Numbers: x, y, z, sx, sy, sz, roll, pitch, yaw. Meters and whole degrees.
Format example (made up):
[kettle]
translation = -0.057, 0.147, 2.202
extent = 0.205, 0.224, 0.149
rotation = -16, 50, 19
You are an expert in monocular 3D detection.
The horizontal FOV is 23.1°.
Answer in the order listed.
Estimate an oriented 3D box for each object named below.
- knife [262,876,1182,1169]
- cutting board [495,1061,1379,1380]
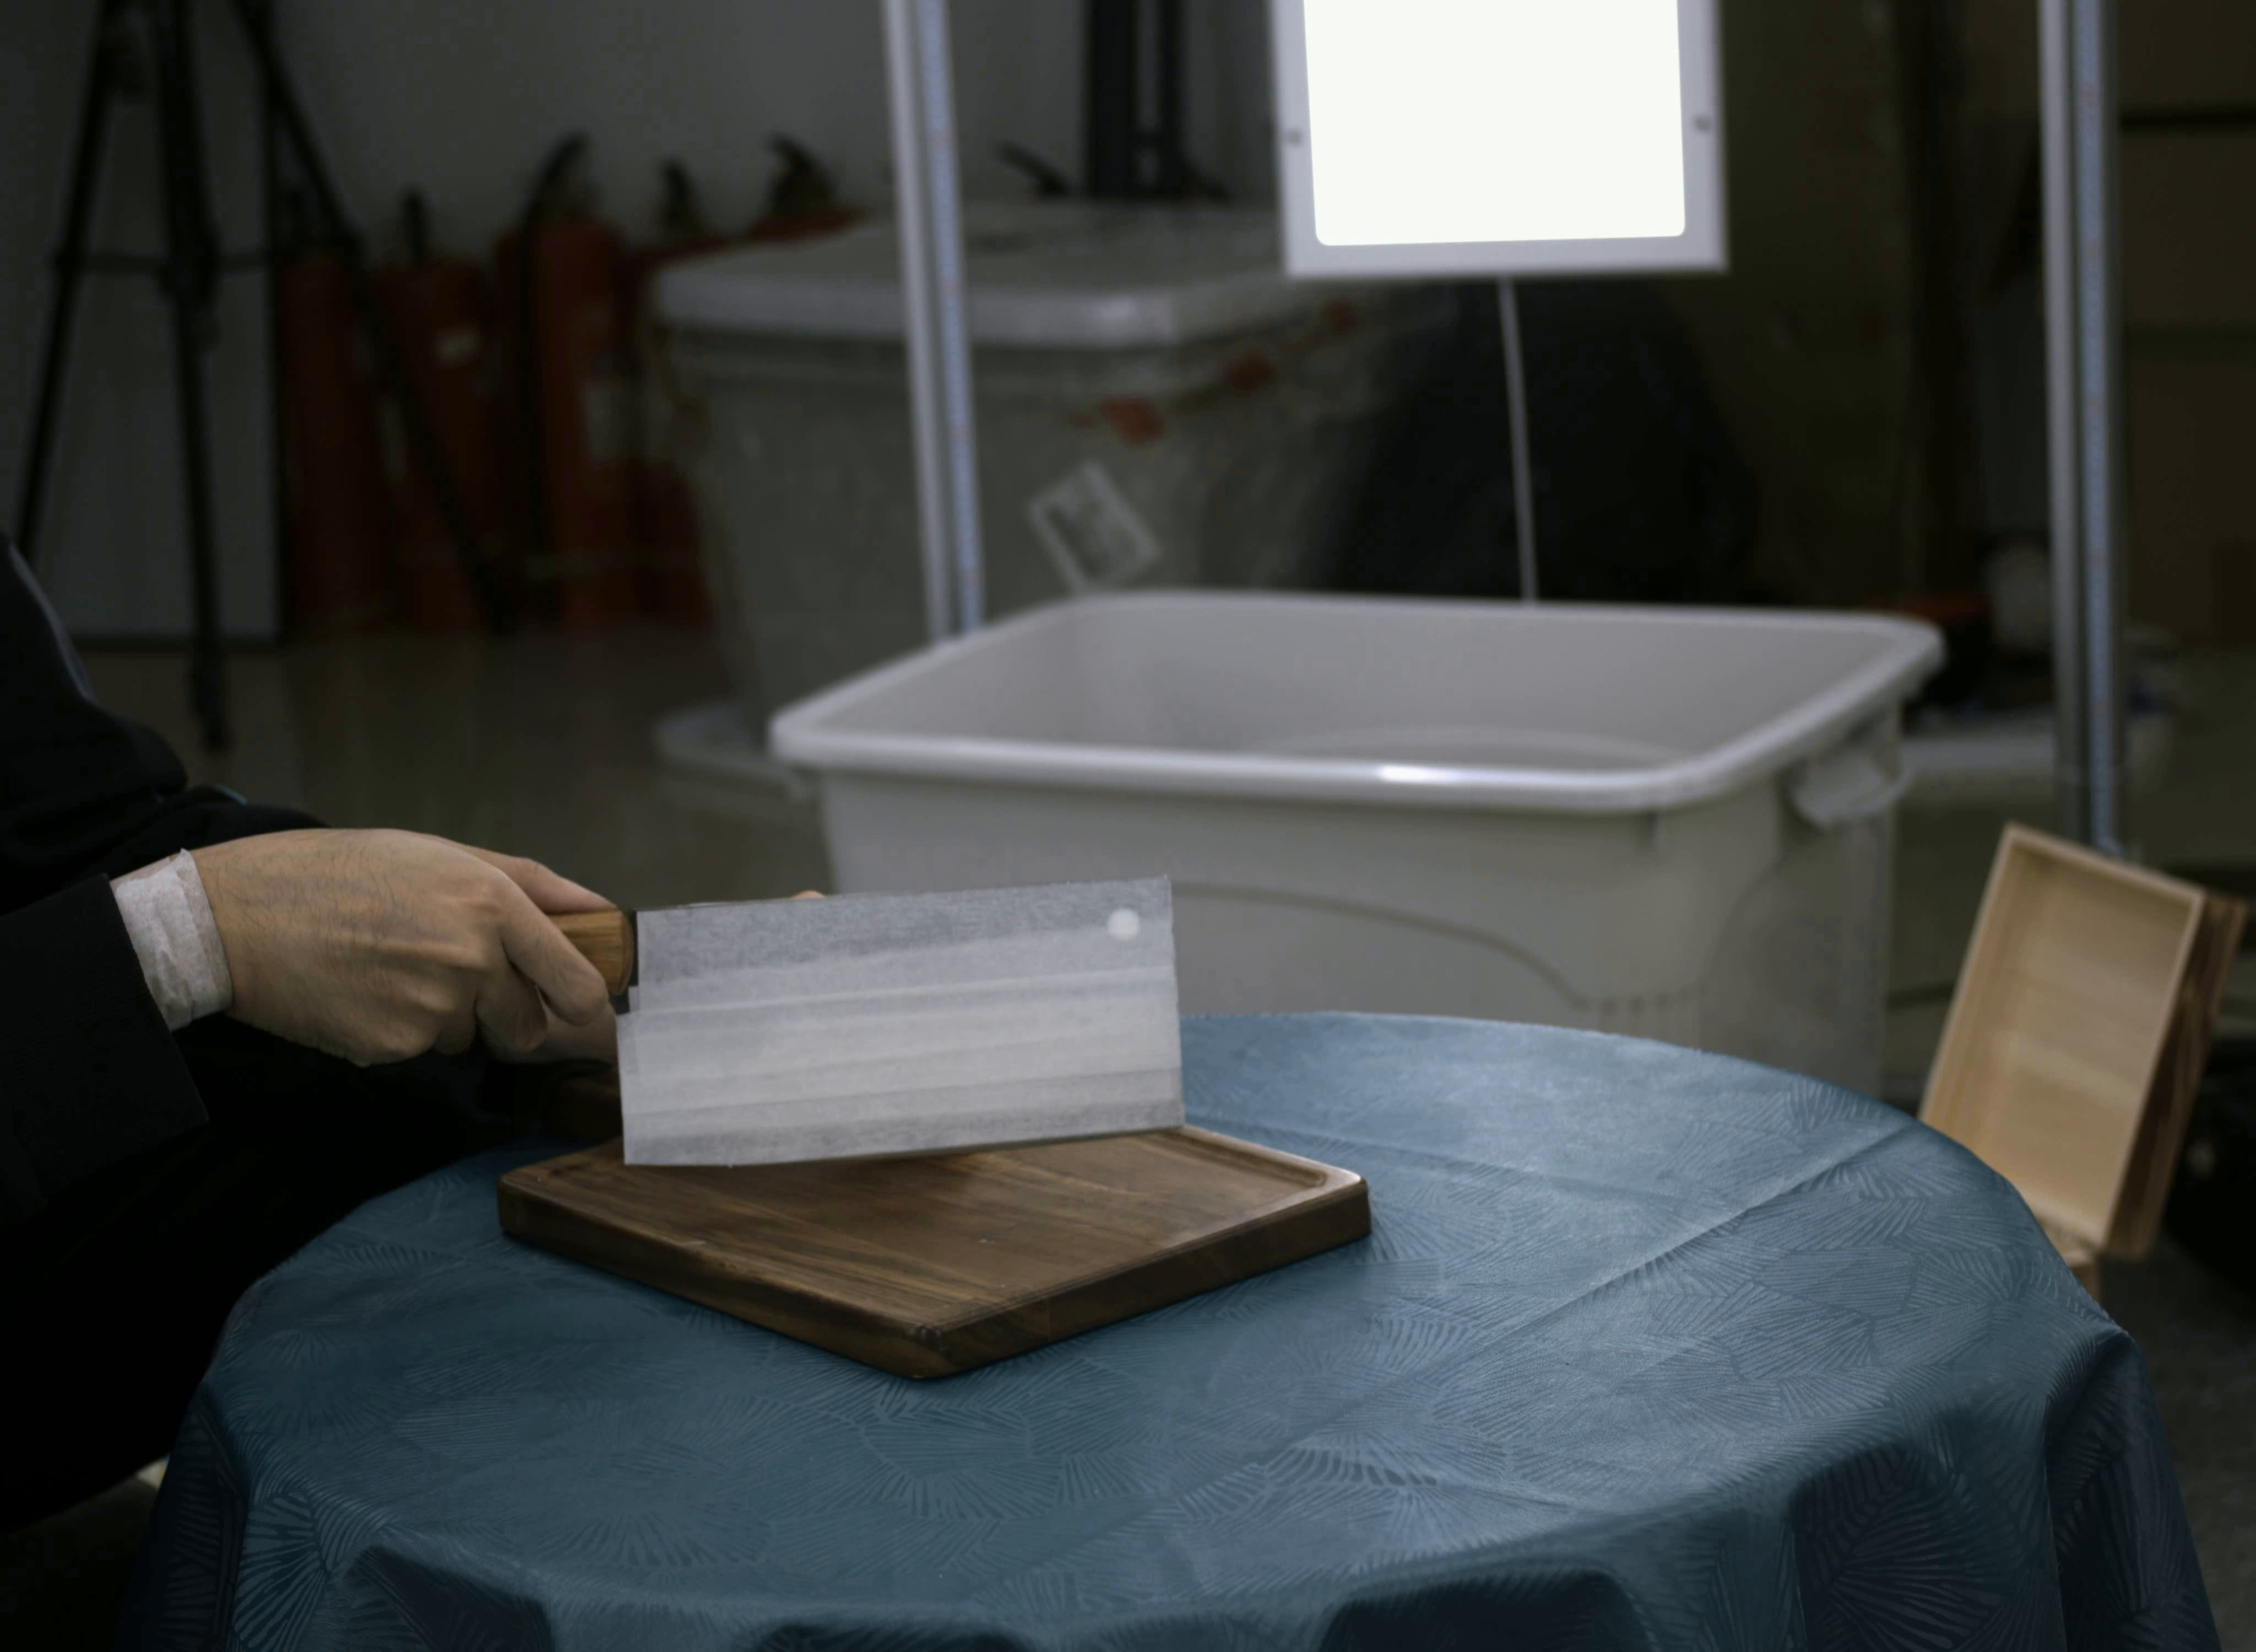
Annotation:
[knife]
translation = -0.135, 0.069, 1.846
extent = 0.305, 0.093, 0.021
rotation = -3, 13, 2
[cutting board]
translation = -0.099, 0.122, 1.908
extent = 0.196, 0.023, 0.359
rotation = -15, 17, -36
